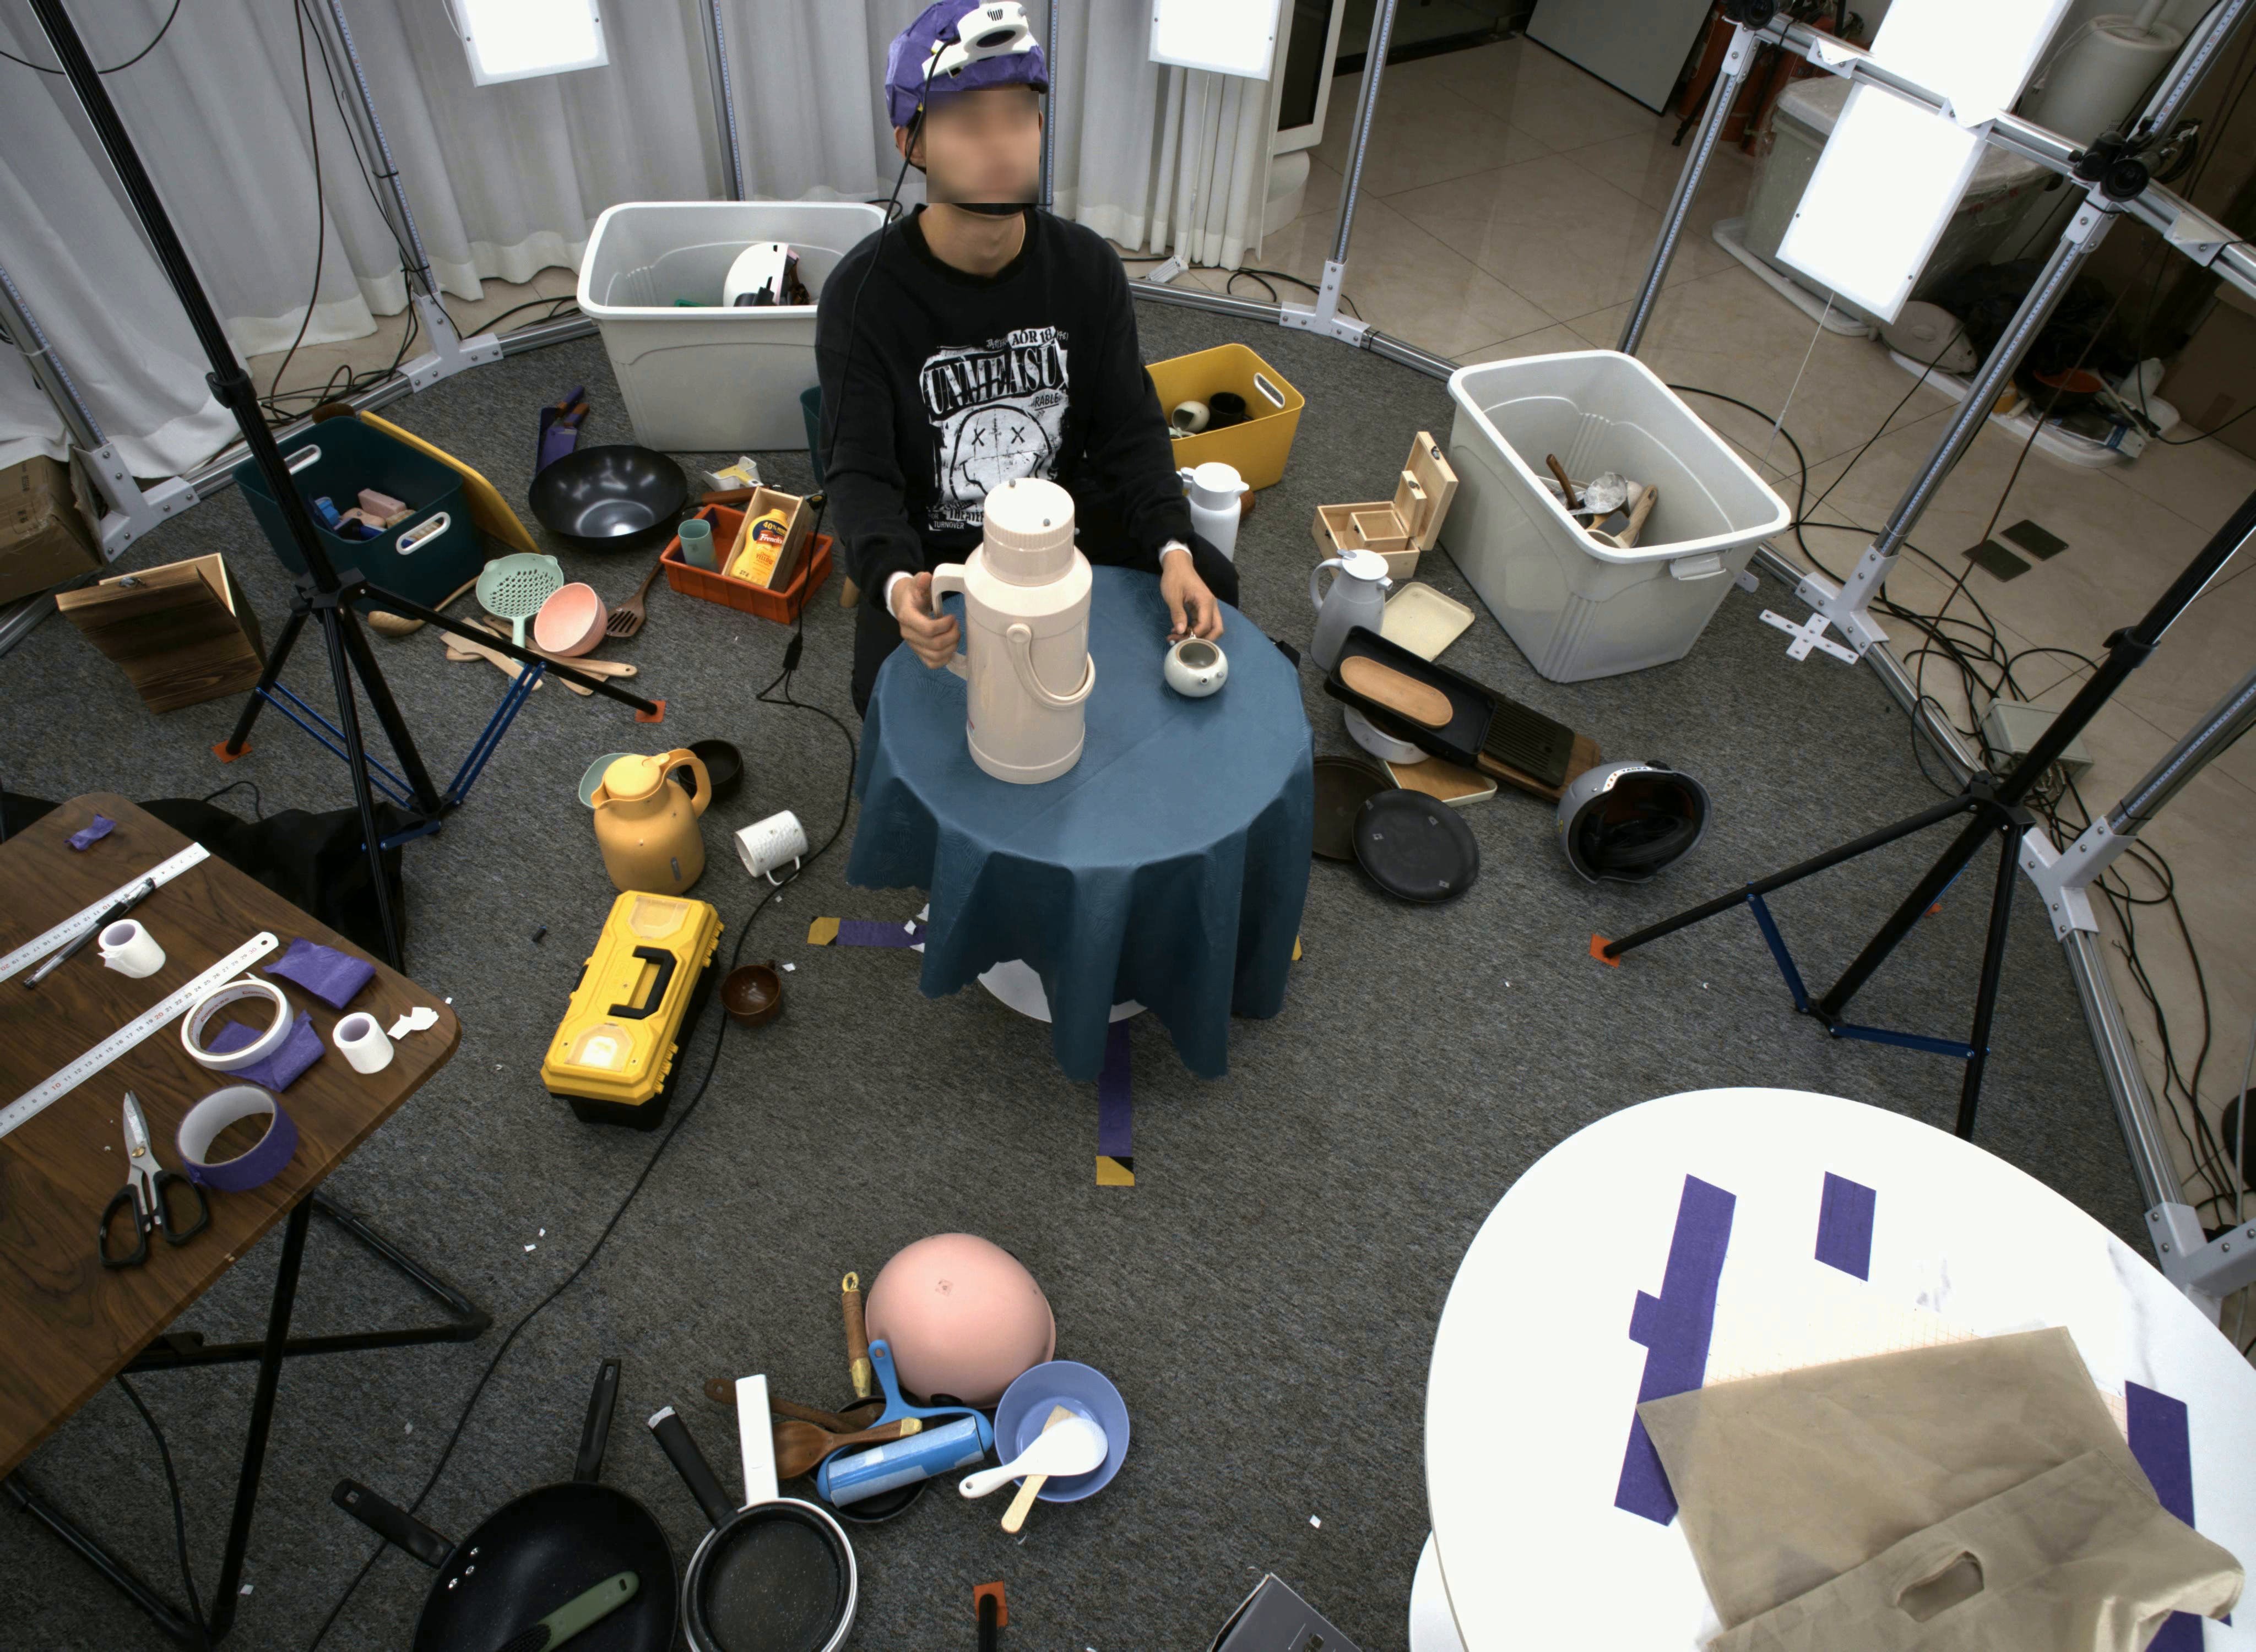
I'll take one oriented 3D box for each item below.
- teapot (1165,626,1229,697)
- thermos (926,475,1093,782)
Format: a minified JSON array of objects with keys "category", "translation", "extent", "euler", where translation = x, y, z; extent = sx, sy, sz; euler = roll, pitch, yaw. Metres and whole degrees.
[{"category":"teapot","translation":[0.097,-0.234,1.839],"extent":[0.092,0.058,0.131],"euler":[-9,51,-6]},{"category":"thermos","translation":[-0.144,-0.244,1.617],"extent":[0.207,0.396,0.179],"euler":[5,51,-1]}]
